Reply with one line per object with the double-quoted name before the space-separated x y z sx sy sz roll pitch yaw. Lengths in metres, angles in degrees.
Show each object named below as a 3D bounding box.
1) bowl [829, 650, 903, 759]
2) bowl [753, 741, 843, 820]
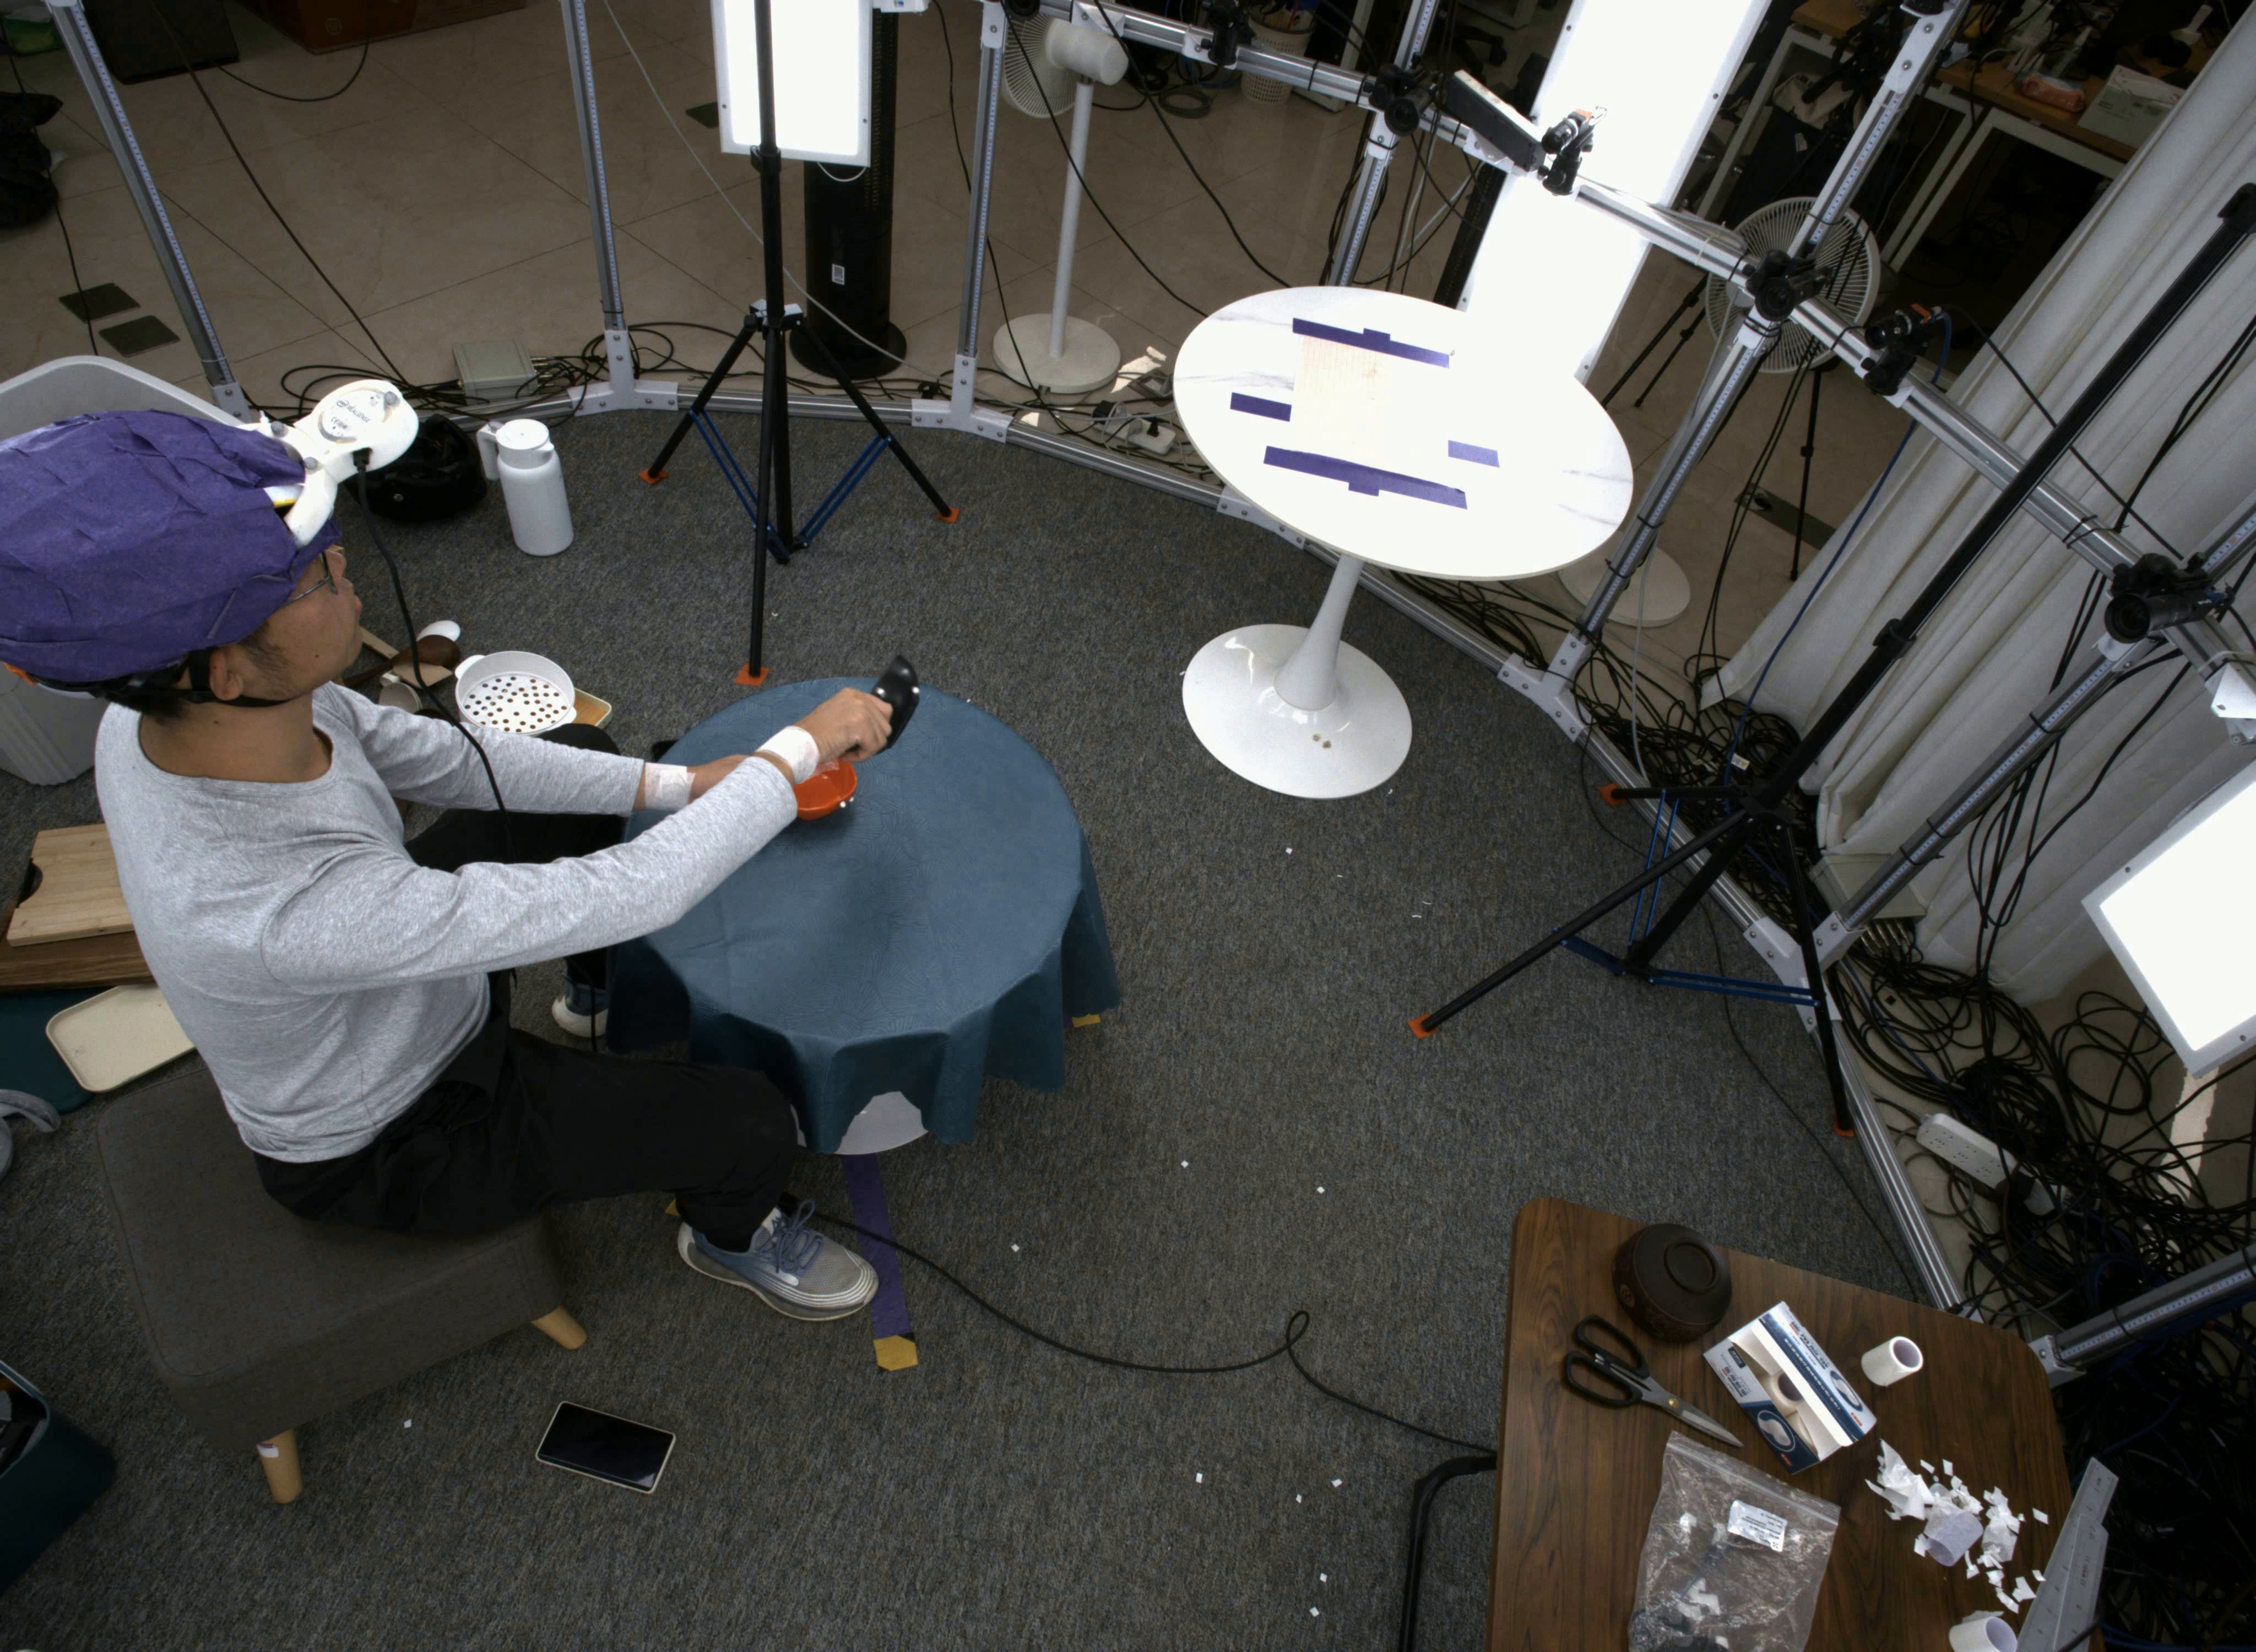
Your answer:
"bowl" -0.310 -0.138 1.574 0.050 0.141 0.138 26 51 -7
"bowl" -0.442 -0.054 1.735 0.119 0.052 0.117 10 52 -10
